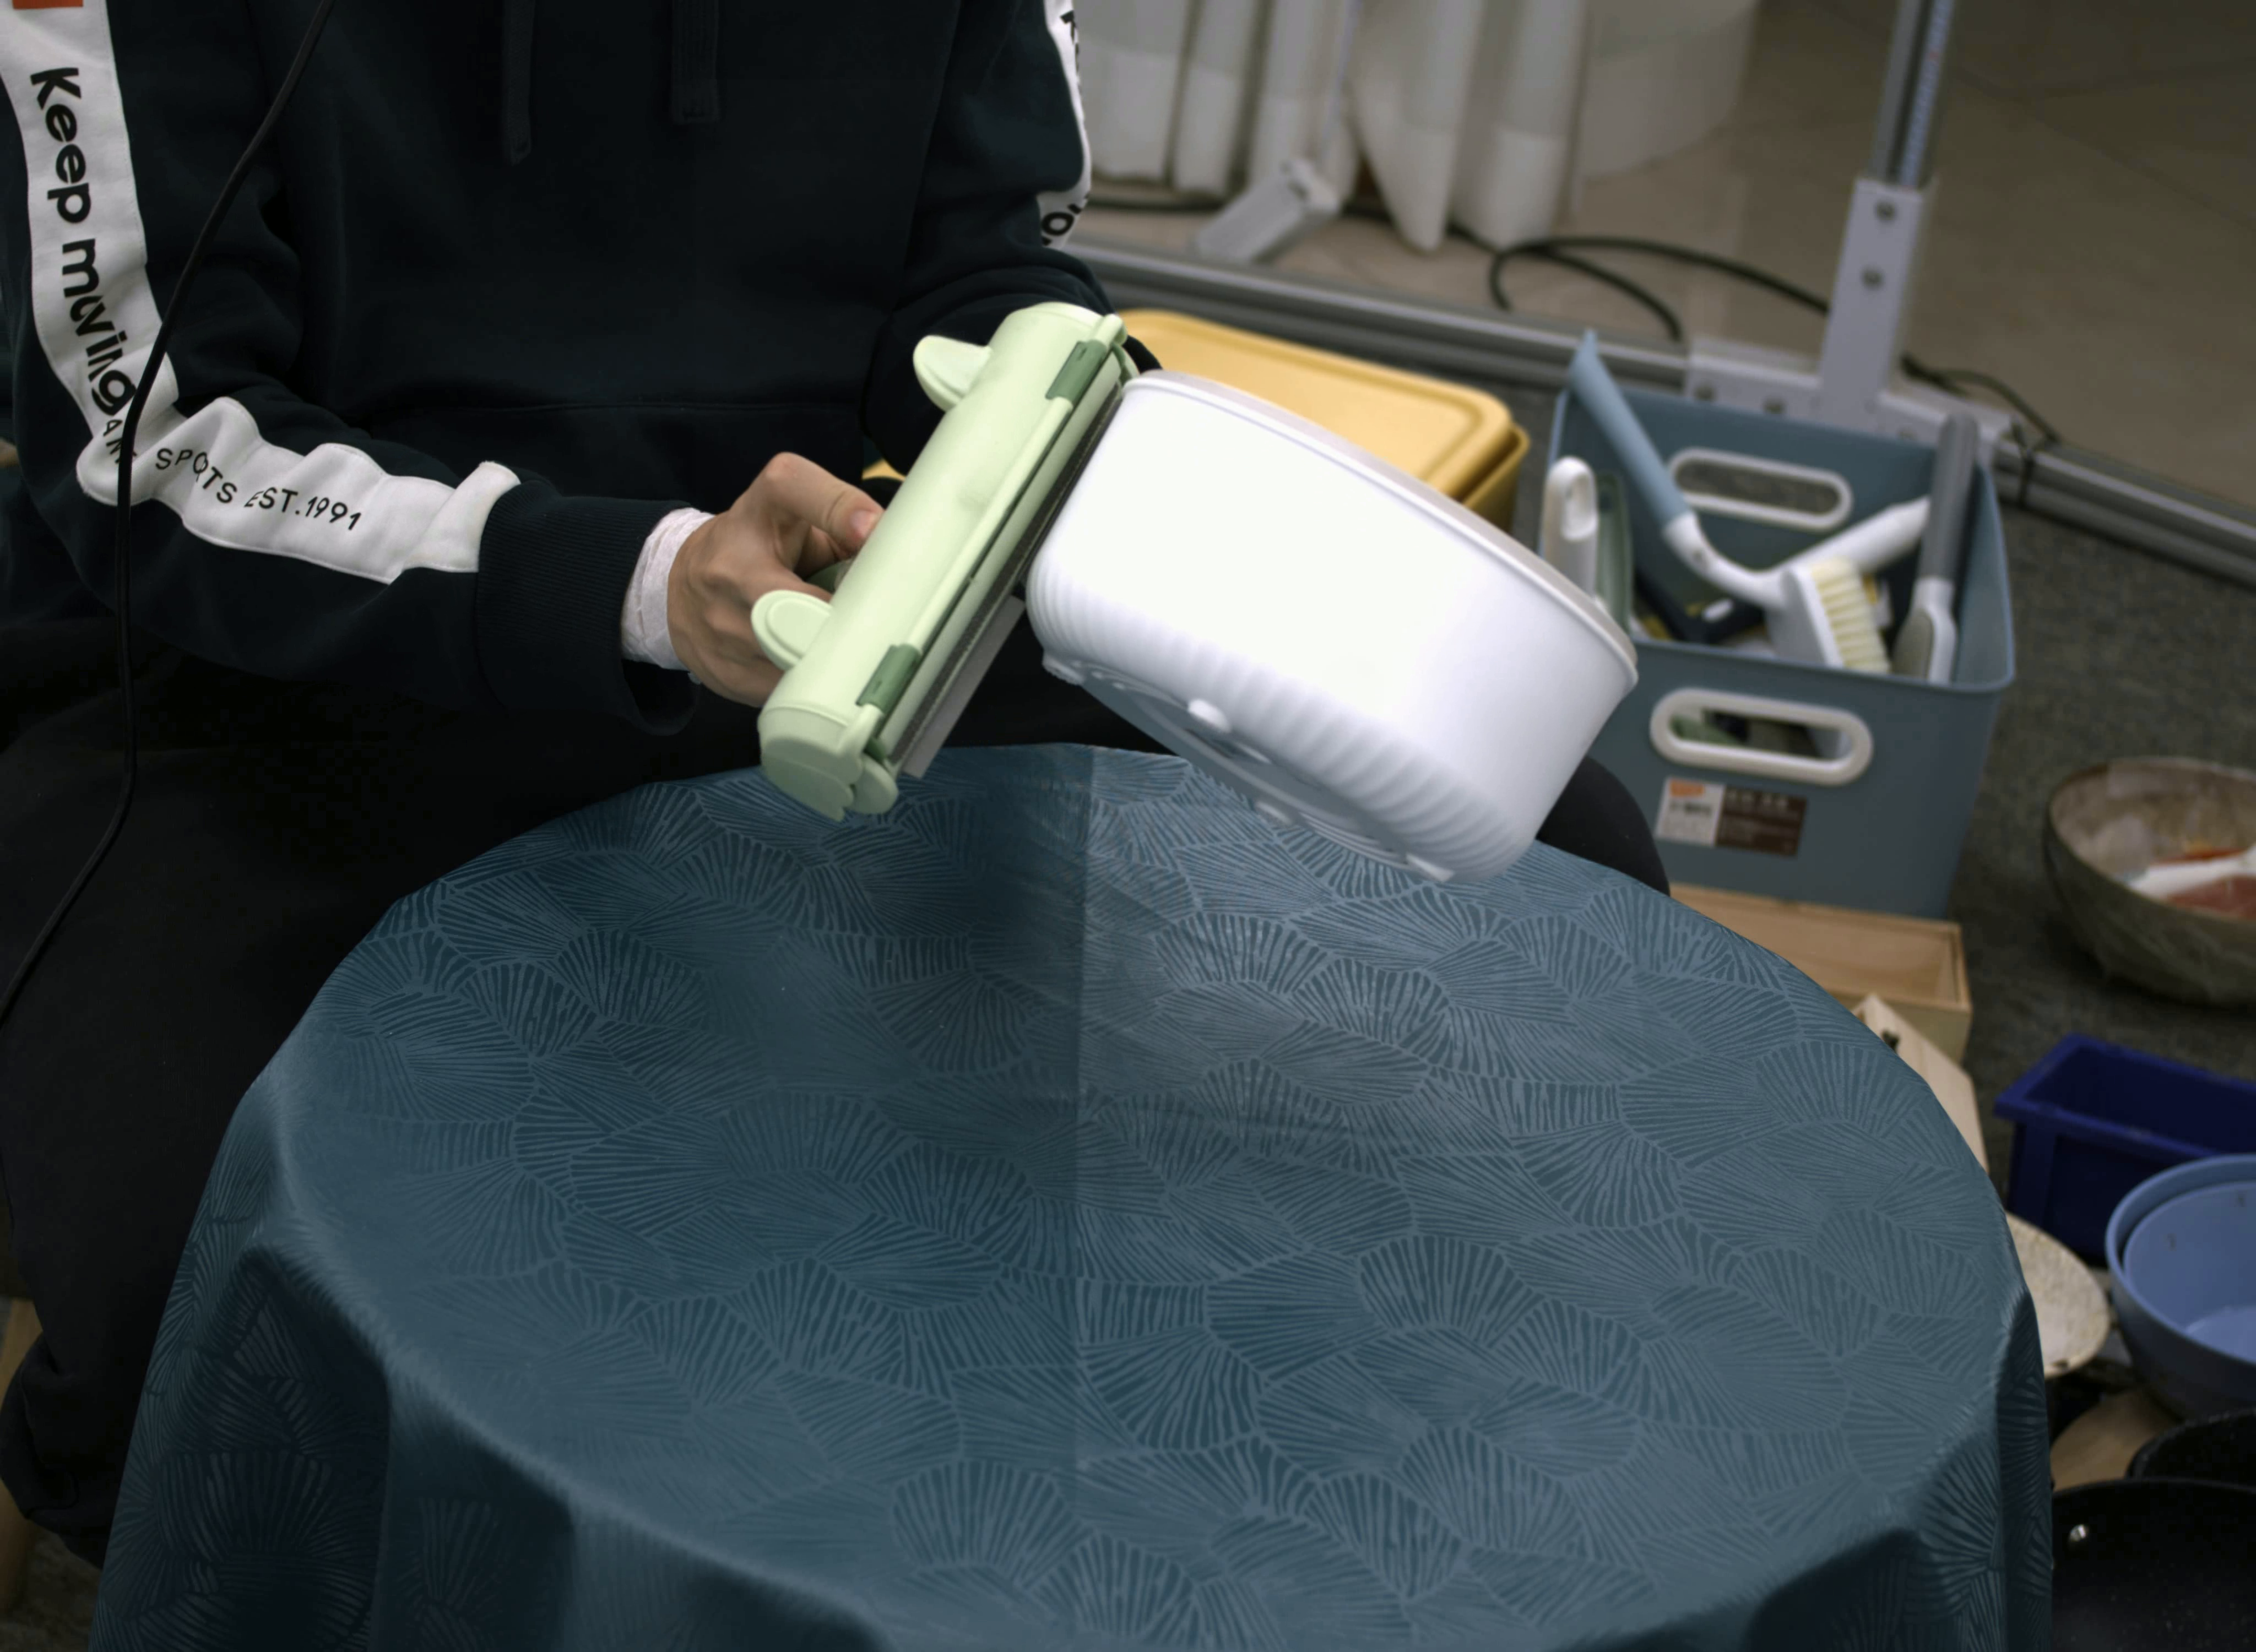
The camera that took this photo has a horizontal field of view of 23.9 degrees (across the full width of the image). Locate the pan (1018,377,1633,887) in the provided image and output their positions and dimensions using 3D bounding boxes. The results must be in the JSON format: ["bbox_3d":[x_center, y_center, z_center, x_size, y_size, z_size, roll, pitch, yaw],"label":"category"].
[{"bbox_3d":[0.024,-0.071,1.864,0.199,0.102,0.357,32,-7,-30],"label":"pan"}]

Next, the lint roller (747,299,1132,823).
[{"bbox_3d":[-0.098,-0.091,1.852,0.184,0.081,0.199,-9,46,52],"label":"lint roller"}]
